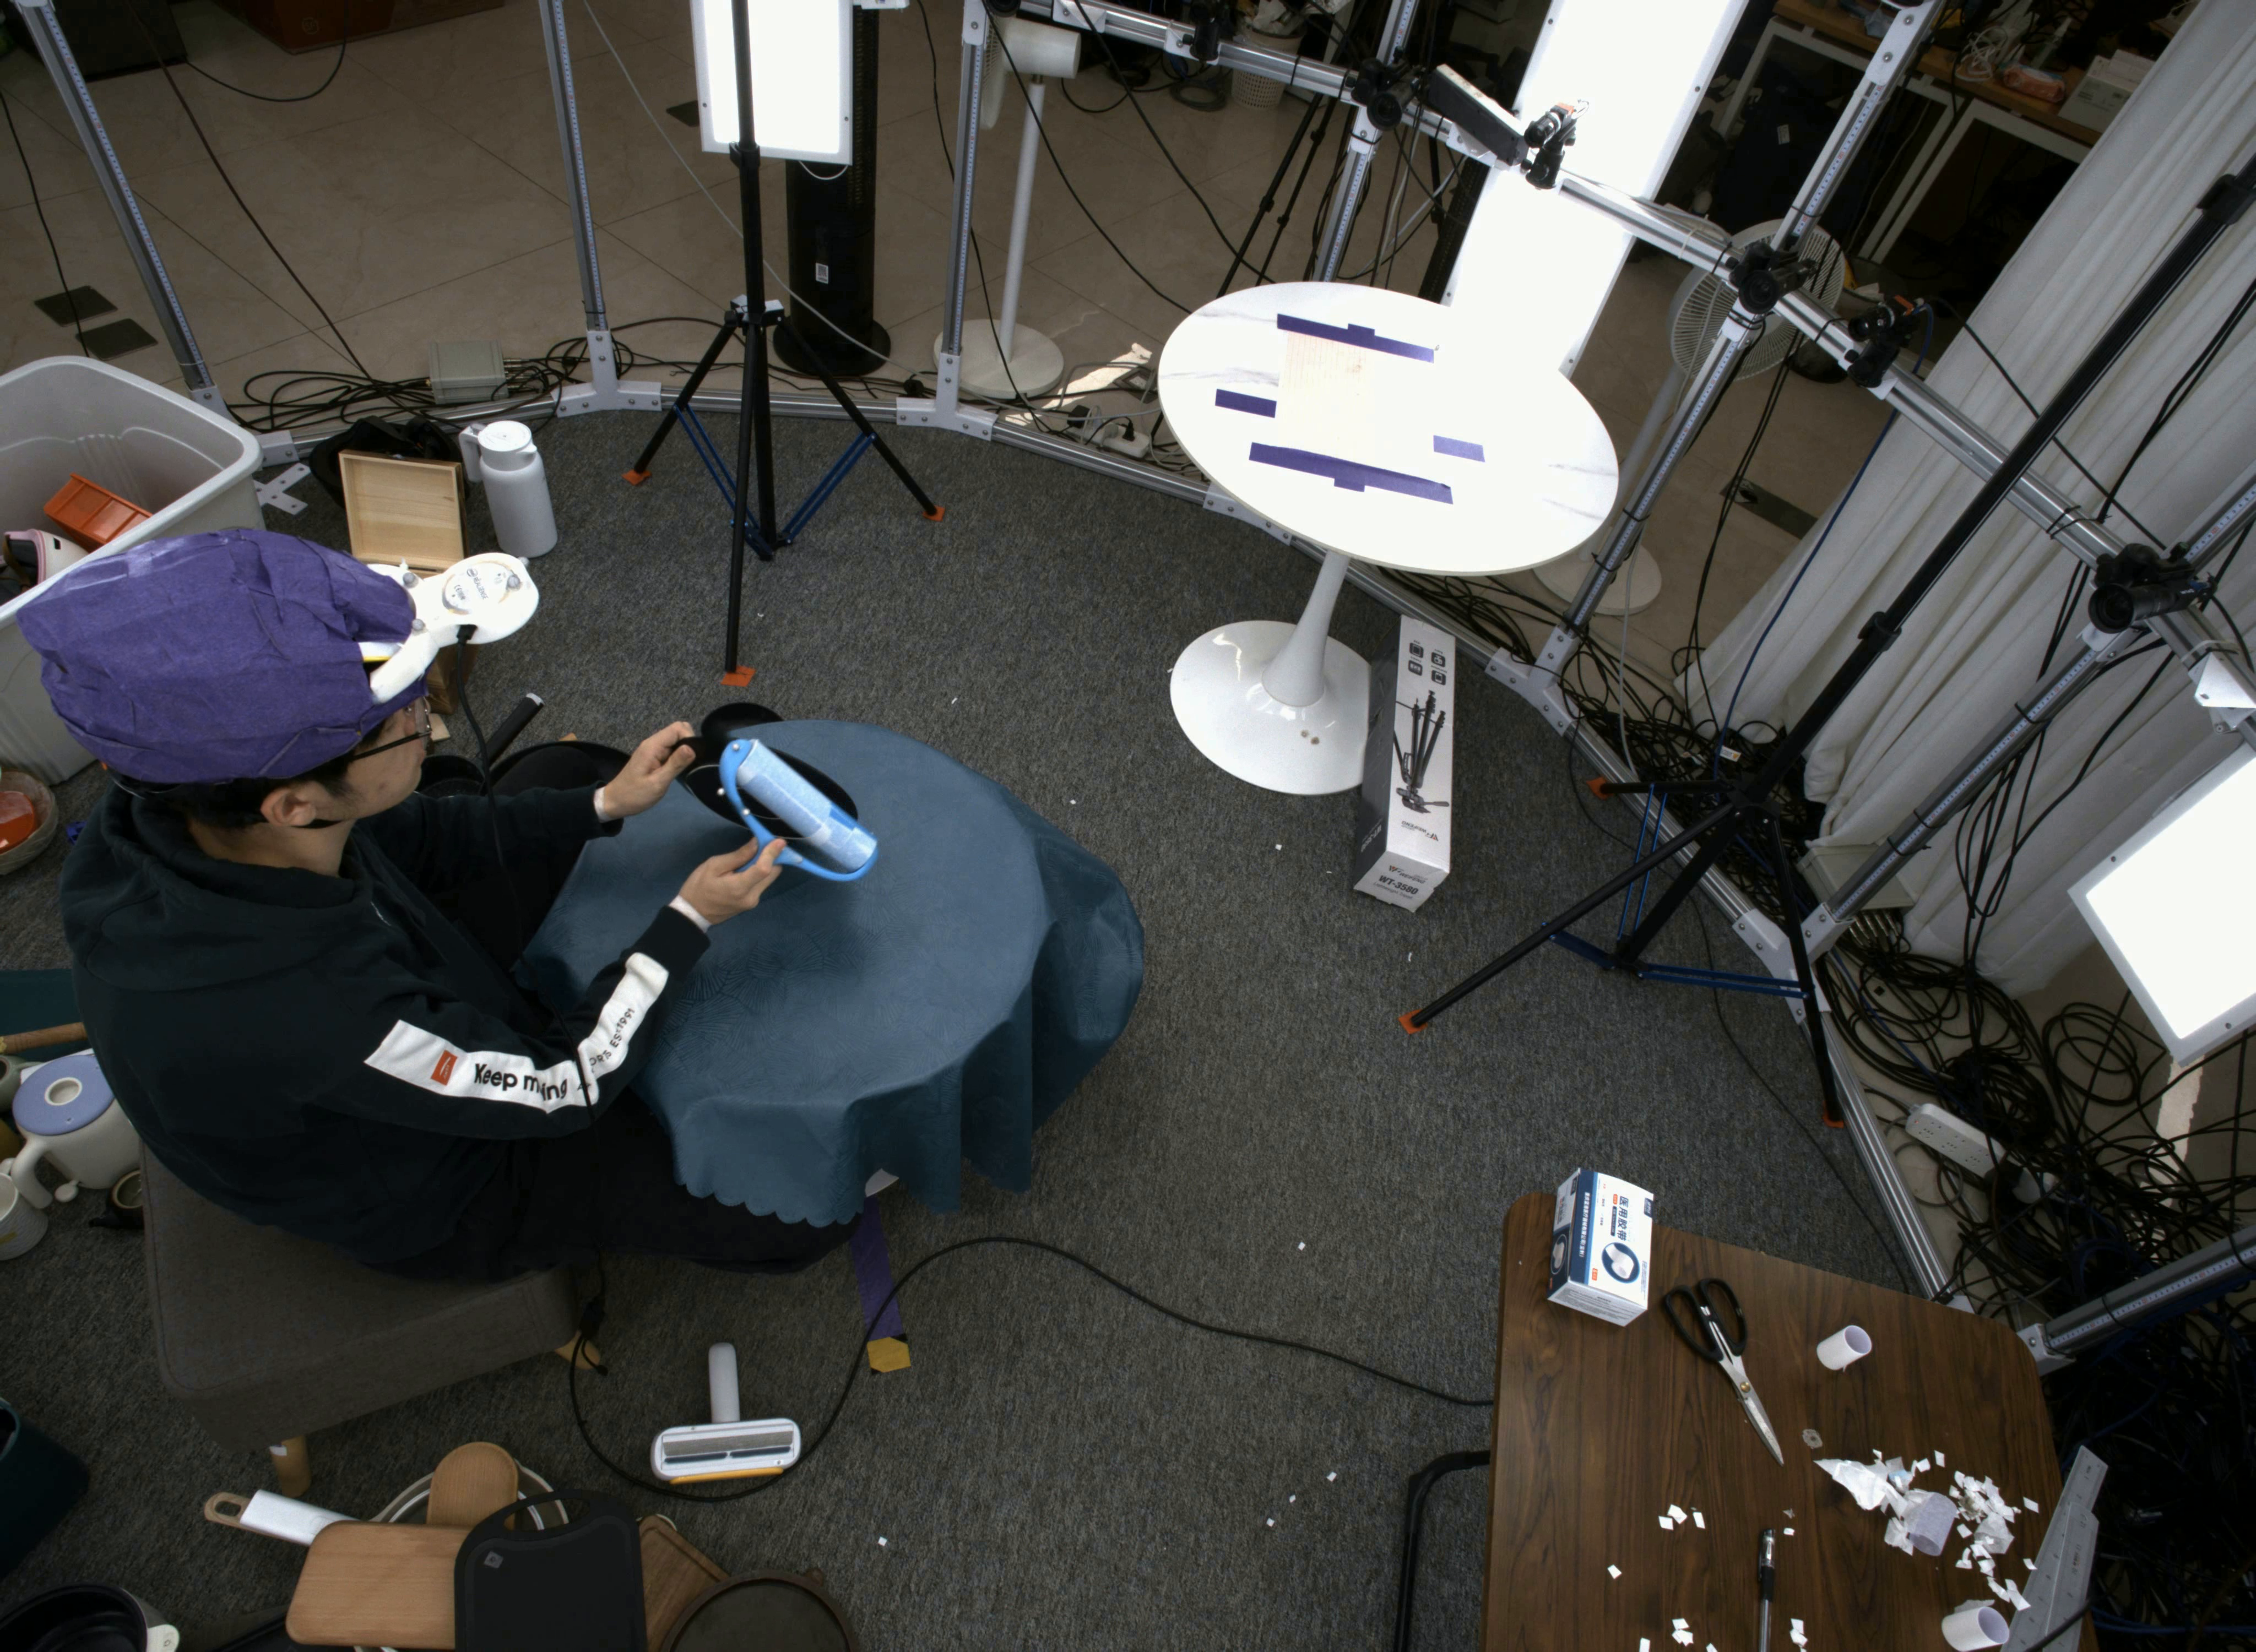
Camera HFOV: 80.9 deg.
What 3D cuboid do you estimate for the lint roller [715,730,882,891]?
[{"bbox_3d":[-0.418,0.015,1.519,0.236,0.180,0.065,39,3,-33],"label":"lint roller"}]

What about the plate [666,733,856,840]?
[{"bbox_3d":[-0.457,-0.039,1.601,0.243,0.248,0.023,13,63,-2],"label":"plate"}]
